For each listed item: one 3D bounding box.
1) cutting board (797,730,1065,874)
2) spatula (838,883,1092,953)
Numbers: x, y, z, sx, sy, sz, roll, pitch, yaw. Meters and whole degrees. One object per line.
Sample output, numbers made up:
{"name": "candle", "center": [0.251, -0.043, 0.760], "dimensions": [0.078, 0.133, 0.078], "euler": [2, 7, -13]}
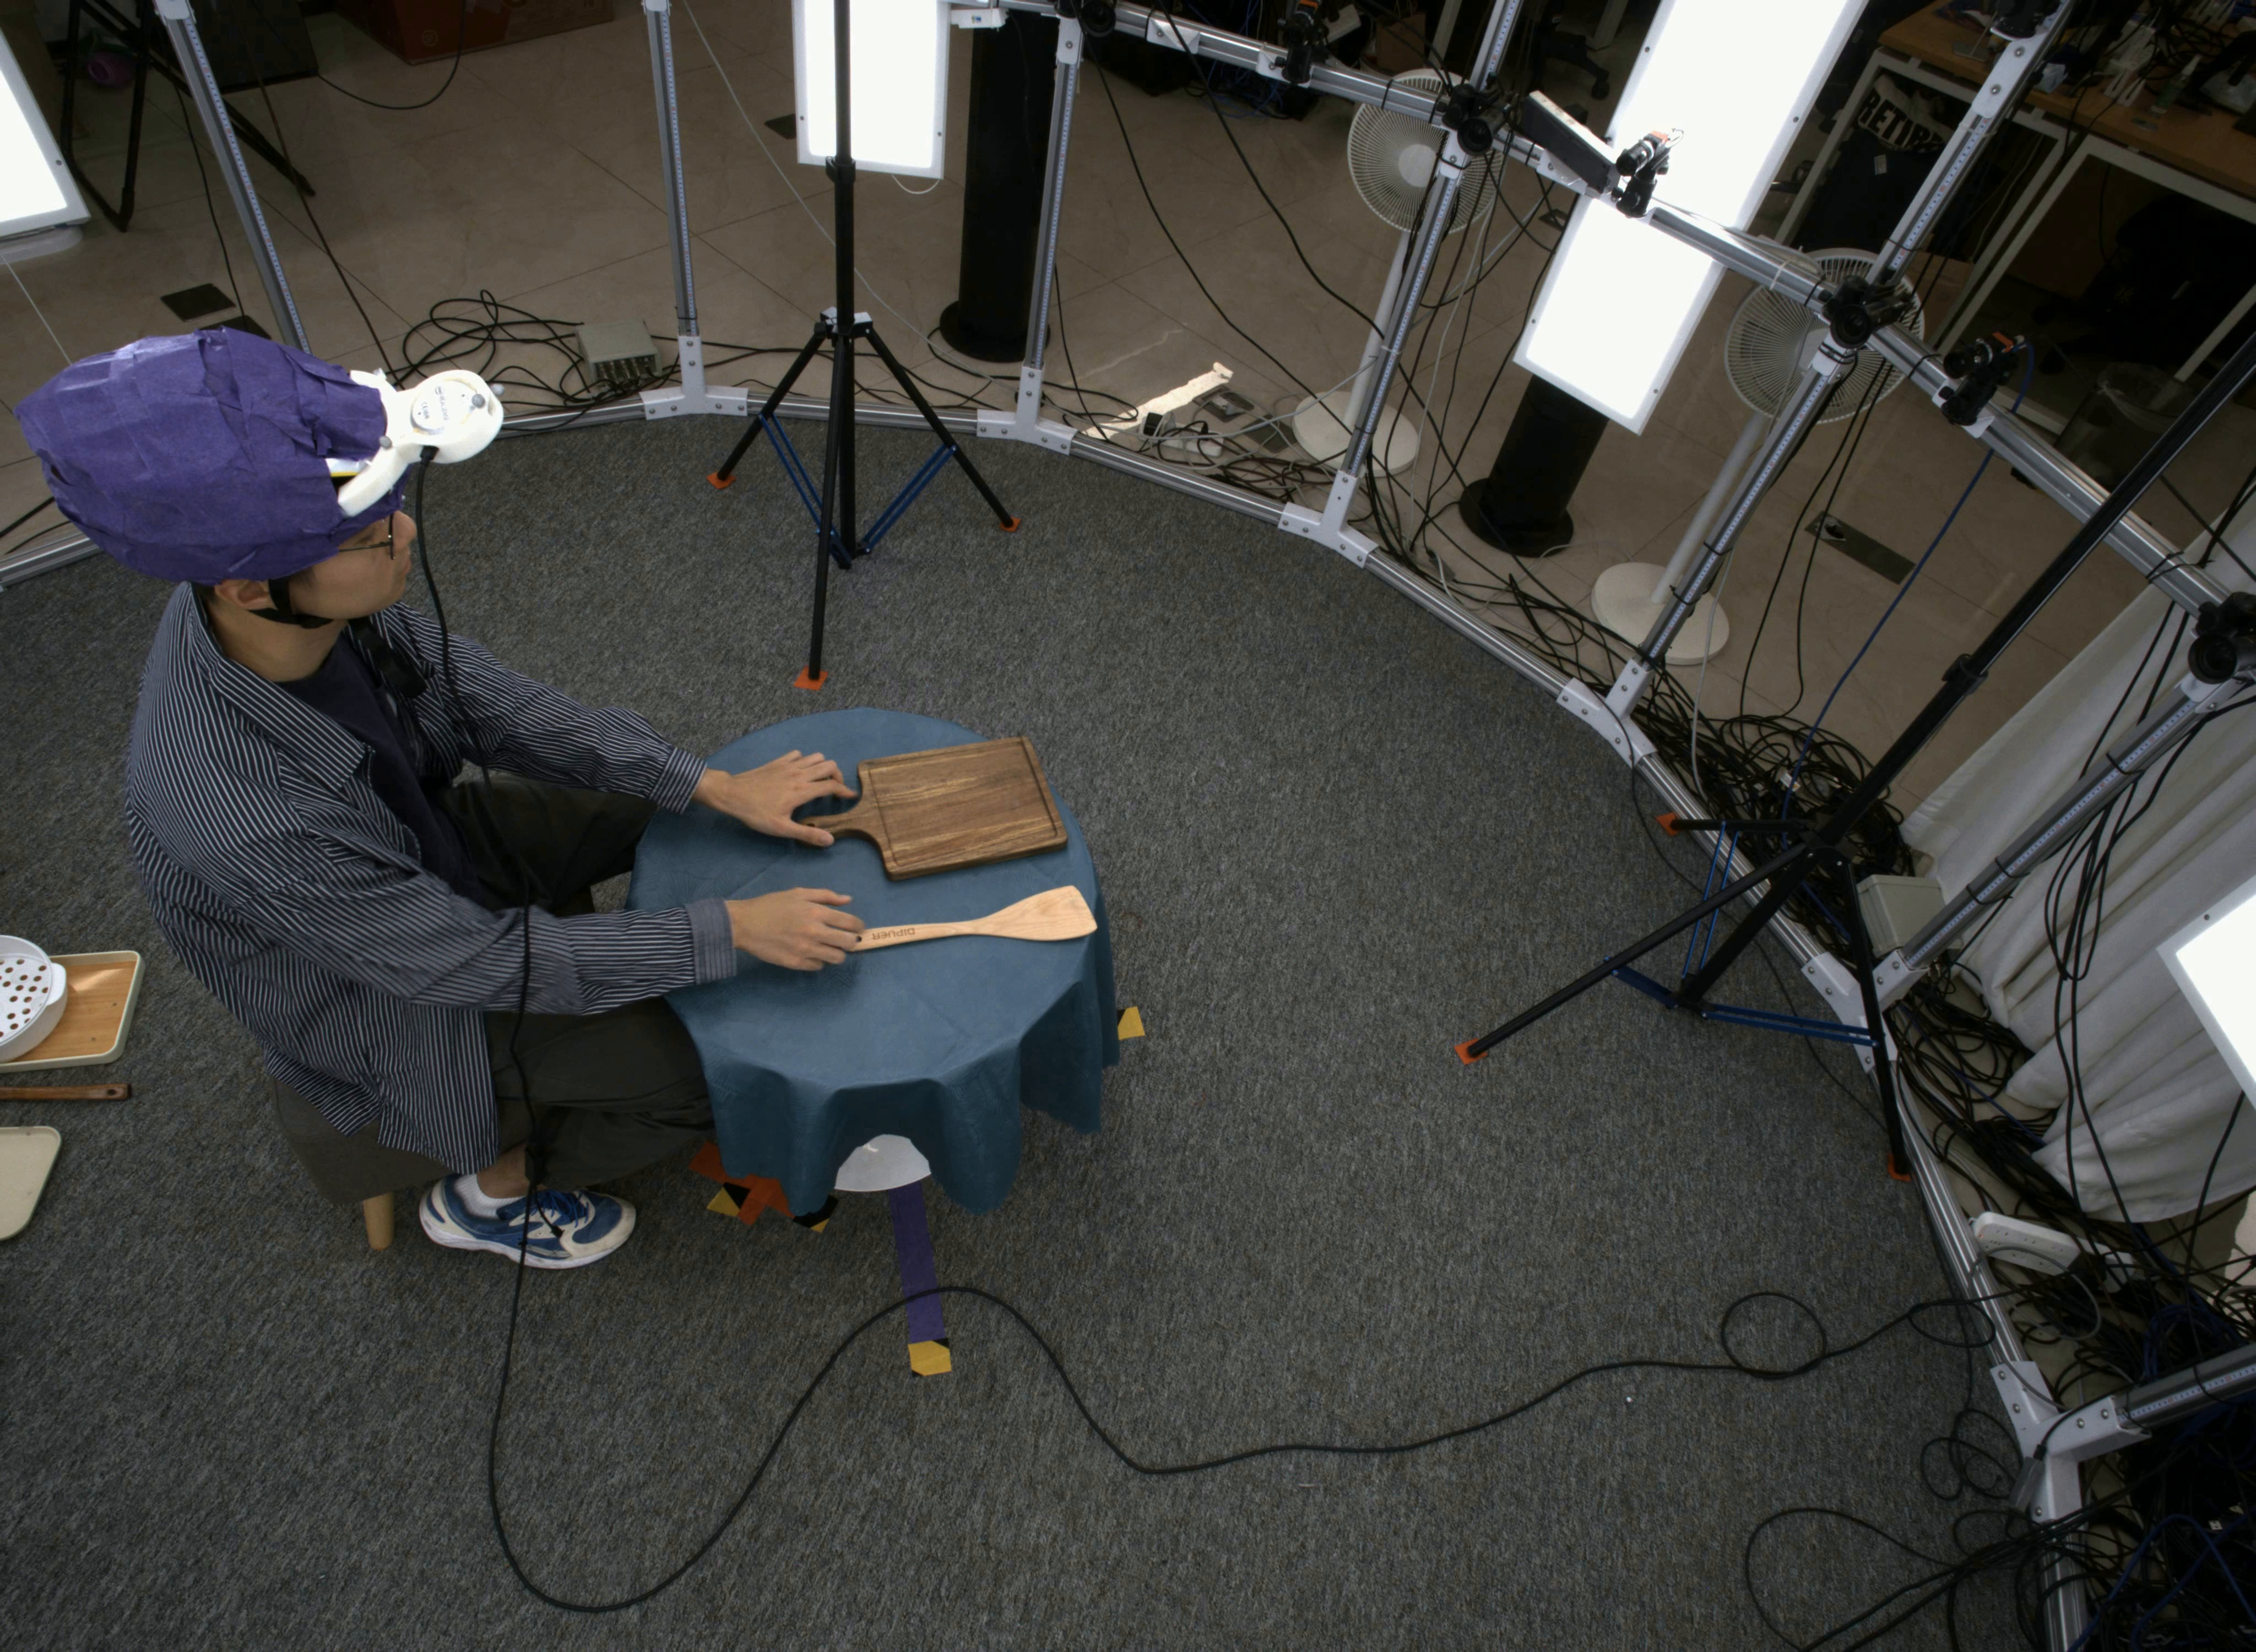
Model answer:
{"name": "cutting board", "center": [-0.277, -0.031, 1.785], "dimensions": [0.353, 0.023, 0.196], "euler": [-10, 57, -20]}
{"name": "spatula", "center": [-0.211, 0.125, 1.688], "dimensions": [0.329, 0.017, 0.078], "euler": [-7, 55, -19]}
